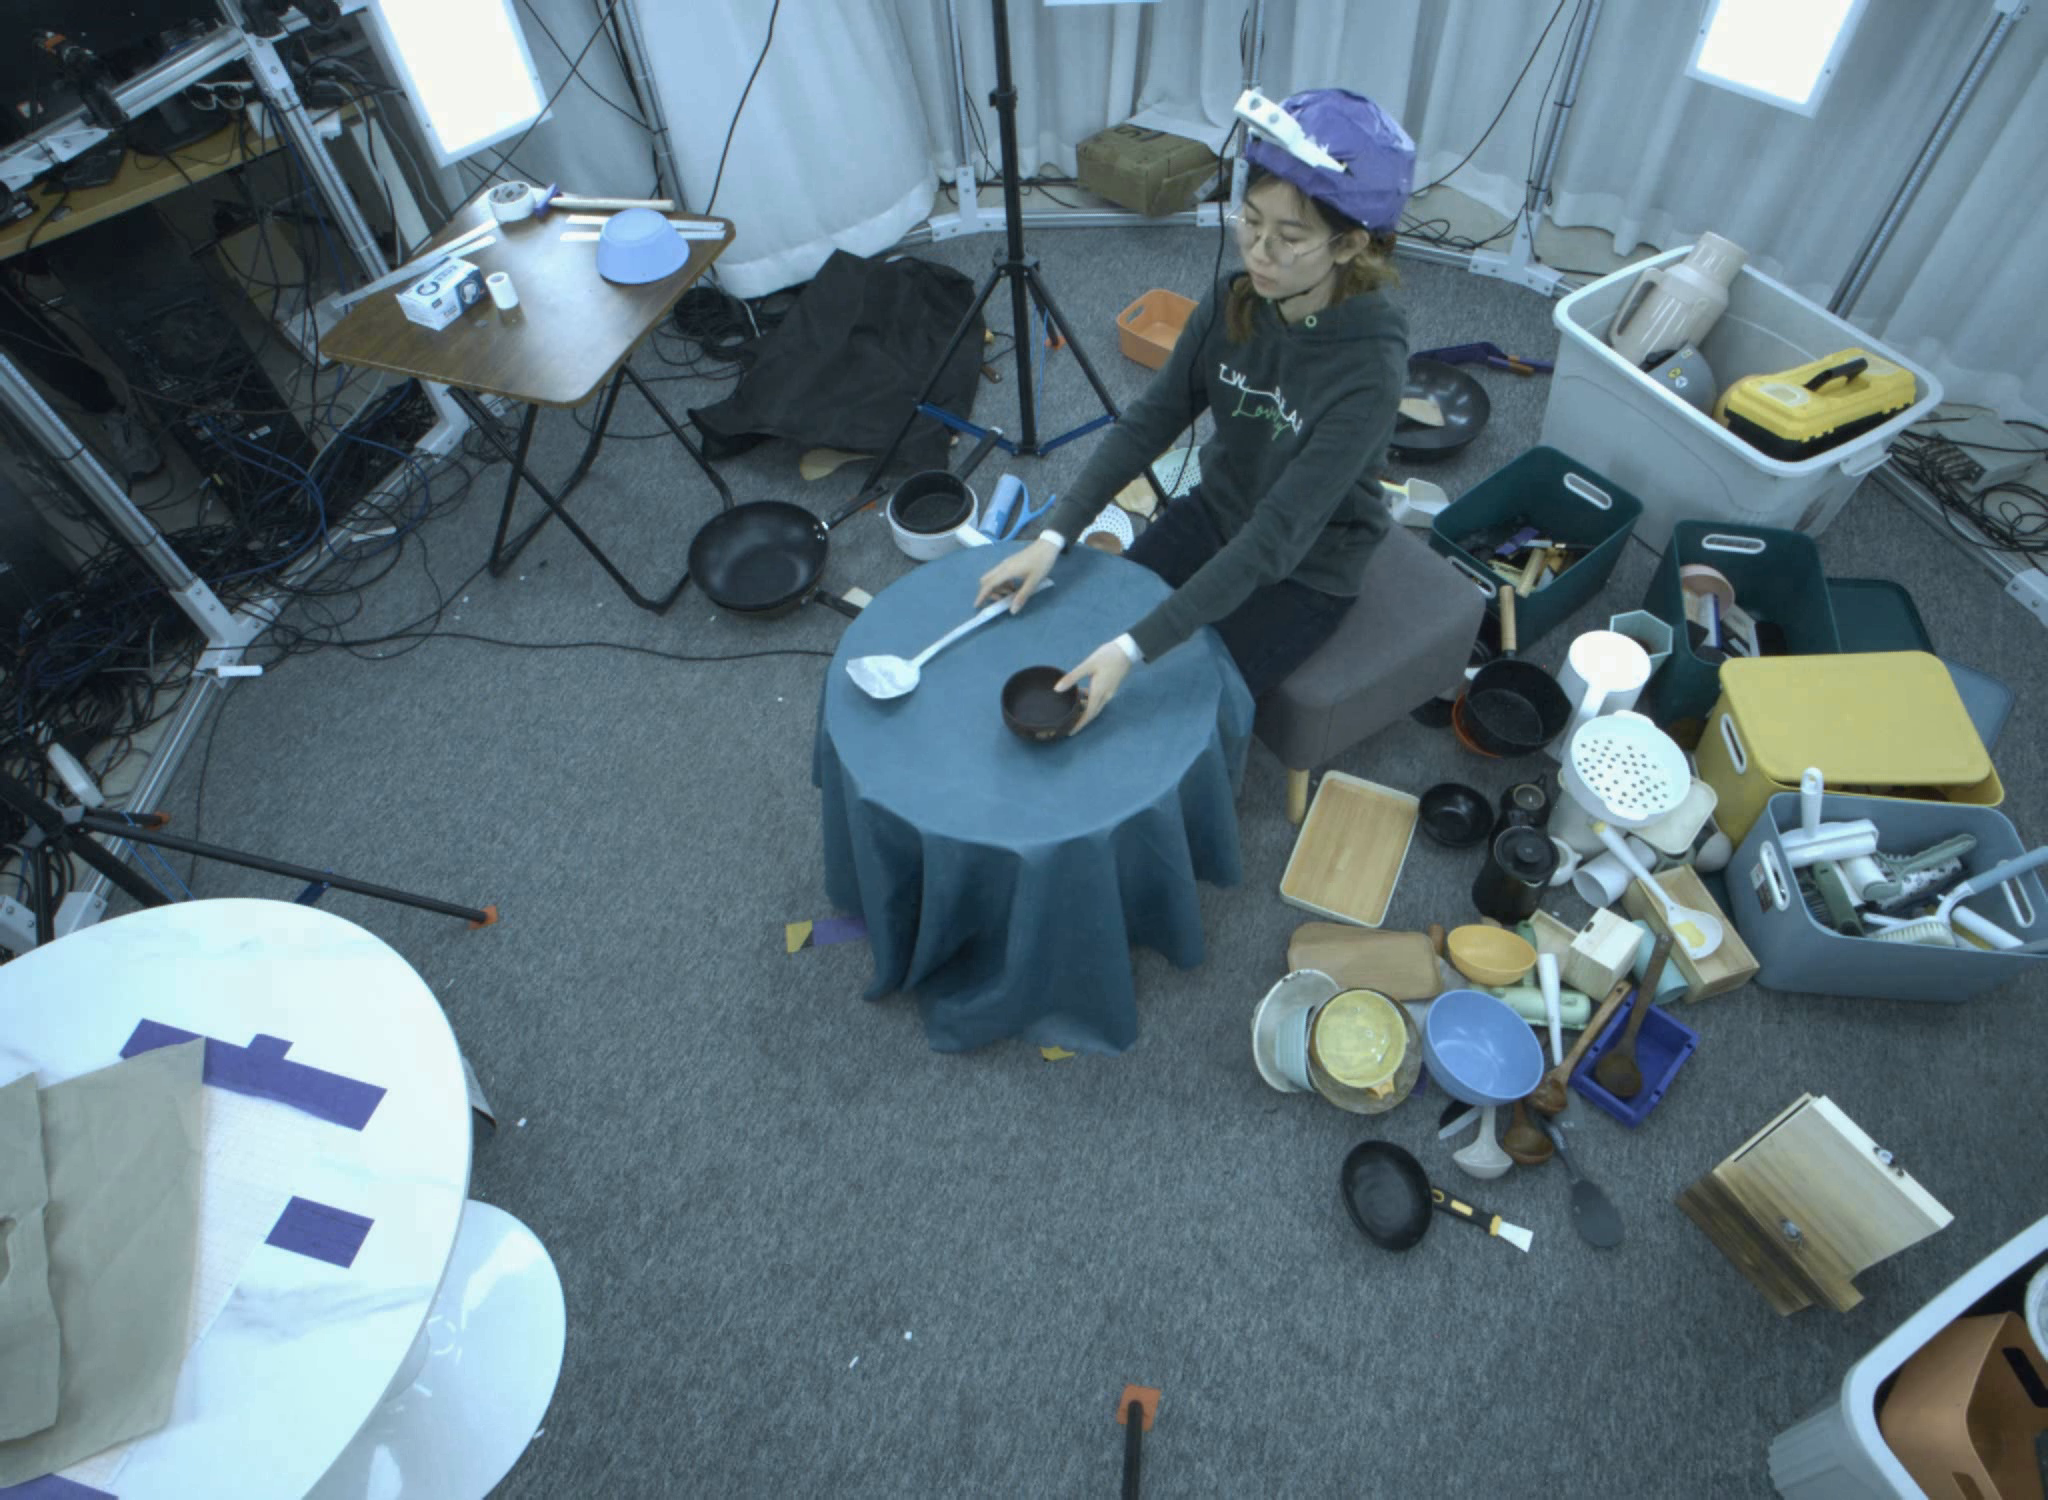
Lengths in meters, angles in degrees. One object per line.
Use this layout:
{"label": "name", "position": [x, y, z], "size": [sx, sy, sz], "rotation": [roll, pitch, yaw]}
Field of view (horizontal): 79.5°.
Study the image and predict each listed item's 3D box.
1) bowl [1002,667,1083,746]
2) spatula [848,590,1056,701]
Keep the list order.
{"label": "bowl", "position": [0.027, -0.055, 1.792], "size": [0.118, 0.070, 0.117], "rotation": [0, 55, 1]}
{"label": "spatula", "position": [-0.102, -0.176, 1.901], "size": [0.368, 0.045, 0.097], "rotation": [-33, 58, -19]}
